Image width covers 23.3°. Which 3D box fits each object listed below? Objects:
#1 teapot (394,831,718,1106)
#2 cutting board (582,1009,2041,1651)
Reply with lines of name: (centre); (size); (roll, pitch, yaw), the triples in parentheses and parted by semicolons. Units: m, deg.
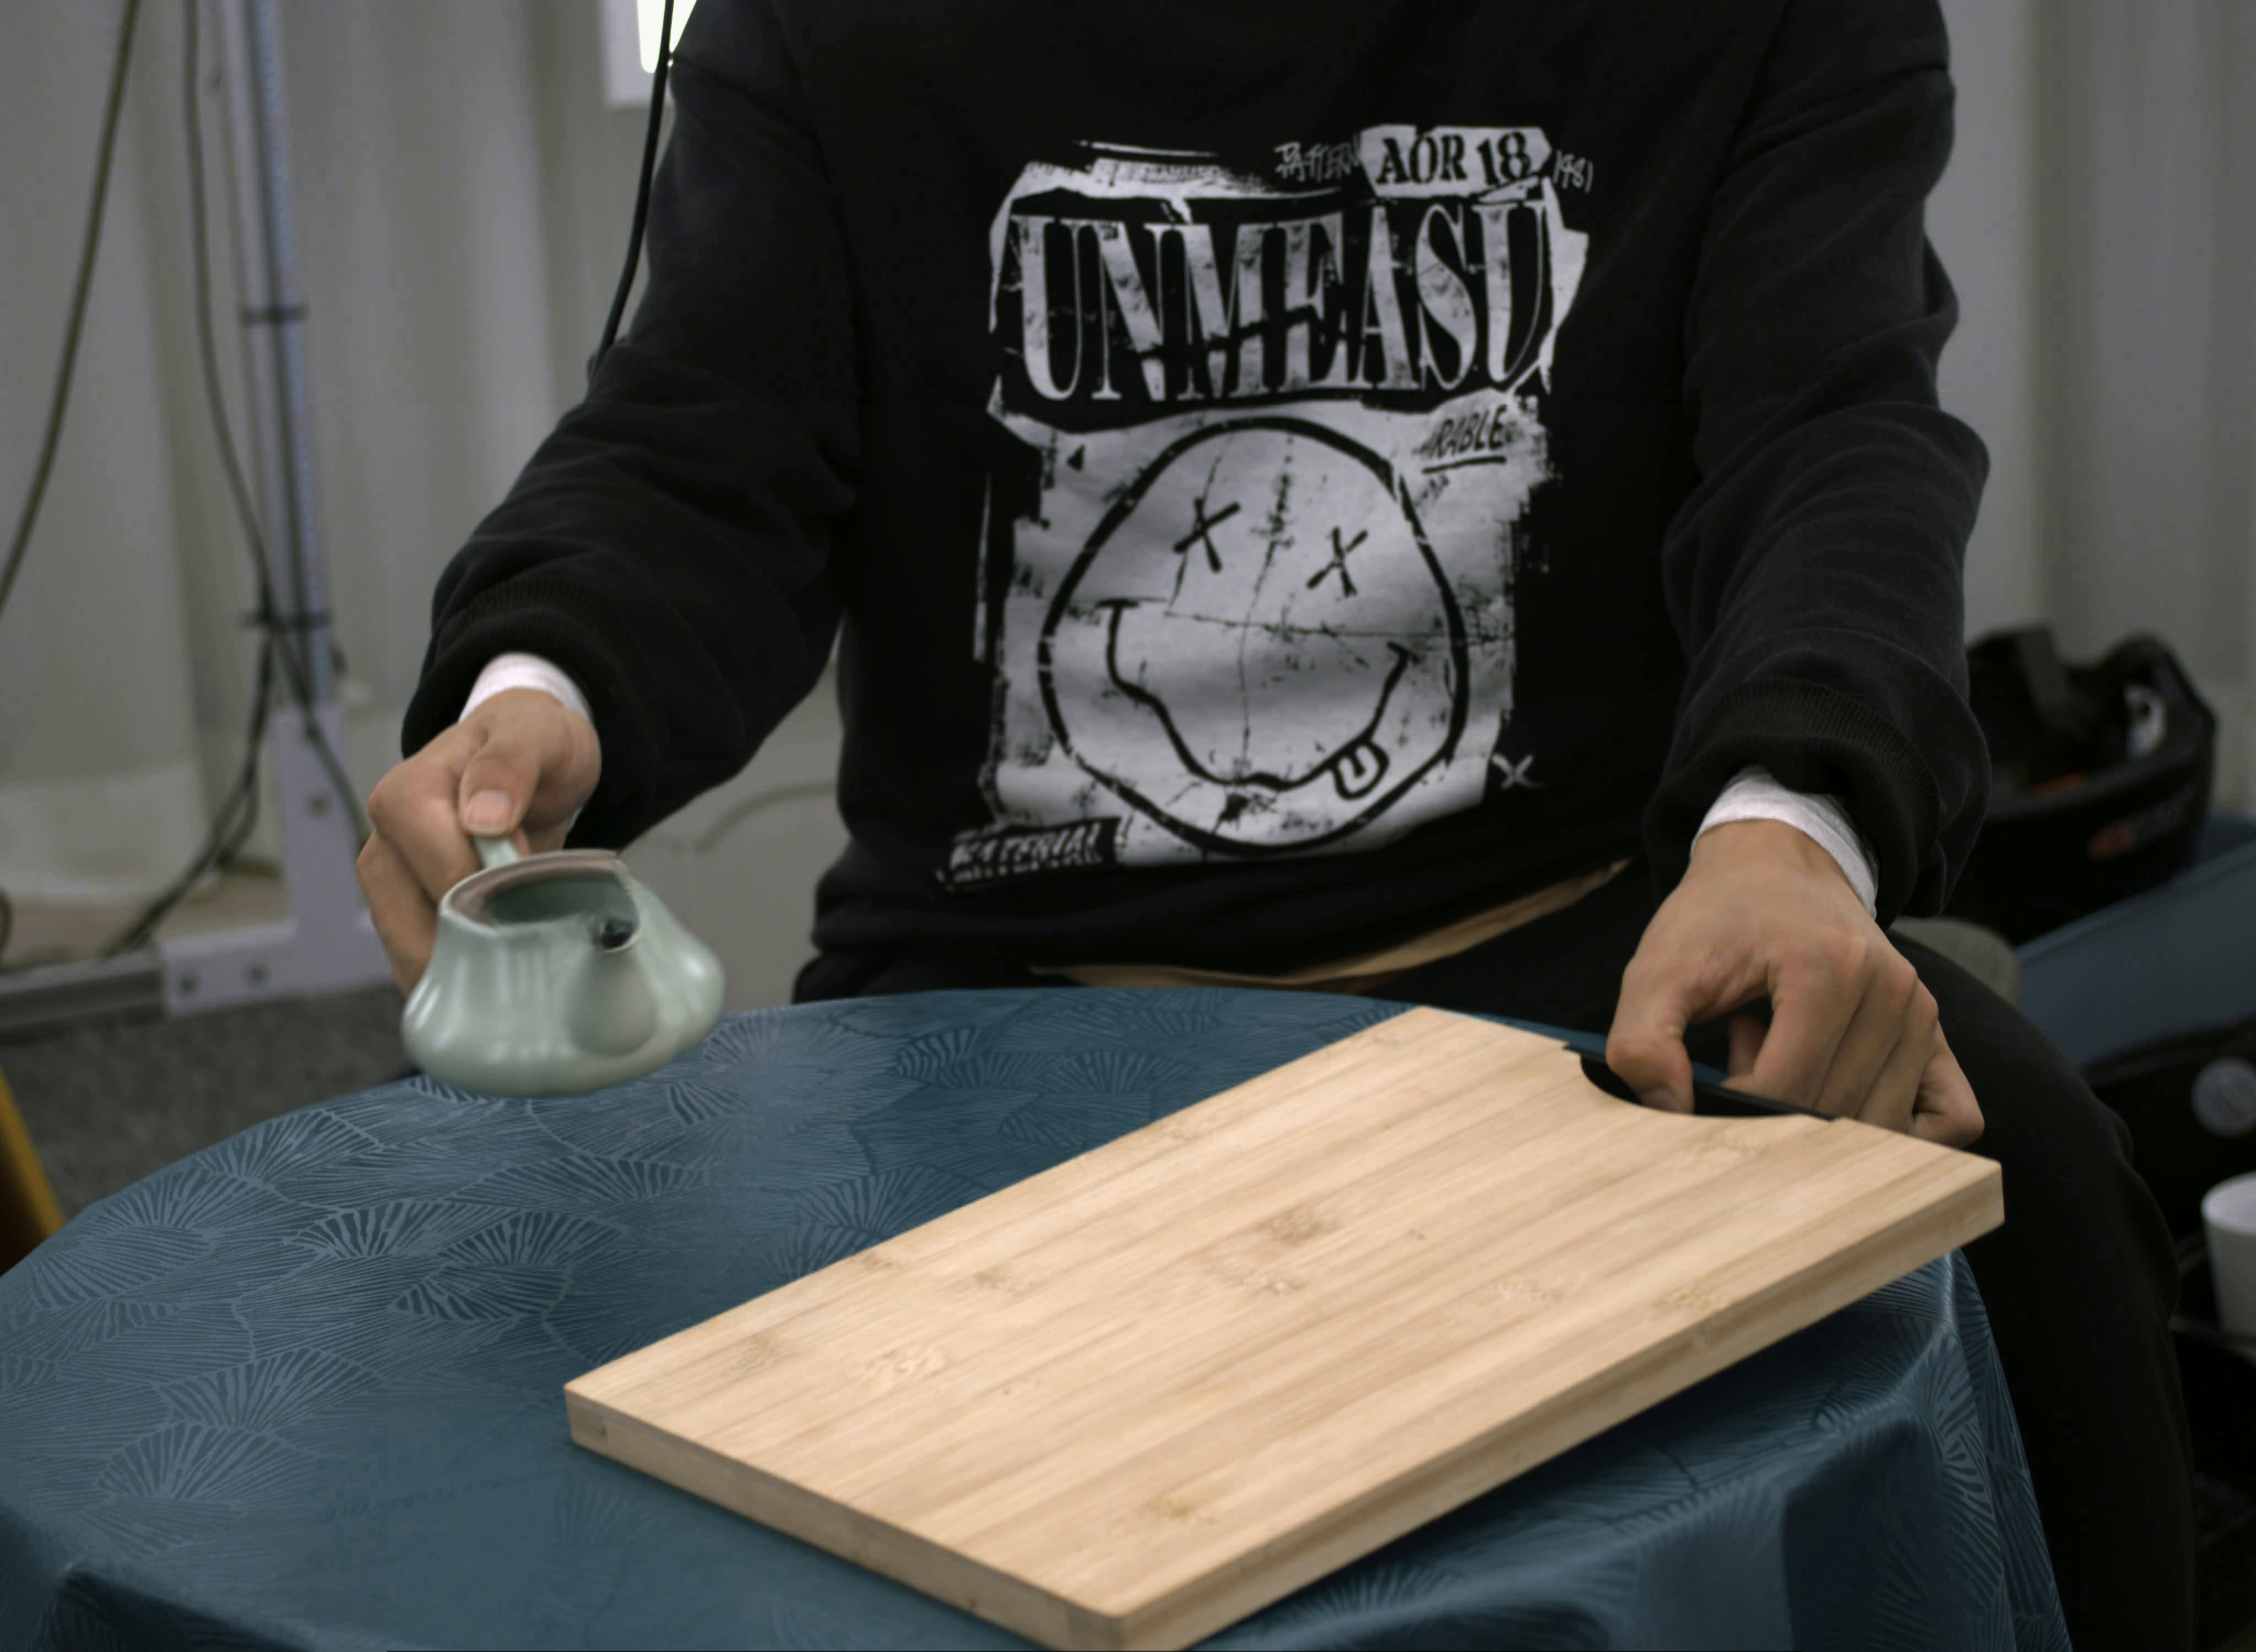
teapot: (-0.173, 0.043, 1.620); (0.096, 0.061, 0.138); (-17, 21, -23)
cutting board: (0.051, 0.135, 1.540); (0.348, 0.023, 0.252); (-21, 23, -38)
